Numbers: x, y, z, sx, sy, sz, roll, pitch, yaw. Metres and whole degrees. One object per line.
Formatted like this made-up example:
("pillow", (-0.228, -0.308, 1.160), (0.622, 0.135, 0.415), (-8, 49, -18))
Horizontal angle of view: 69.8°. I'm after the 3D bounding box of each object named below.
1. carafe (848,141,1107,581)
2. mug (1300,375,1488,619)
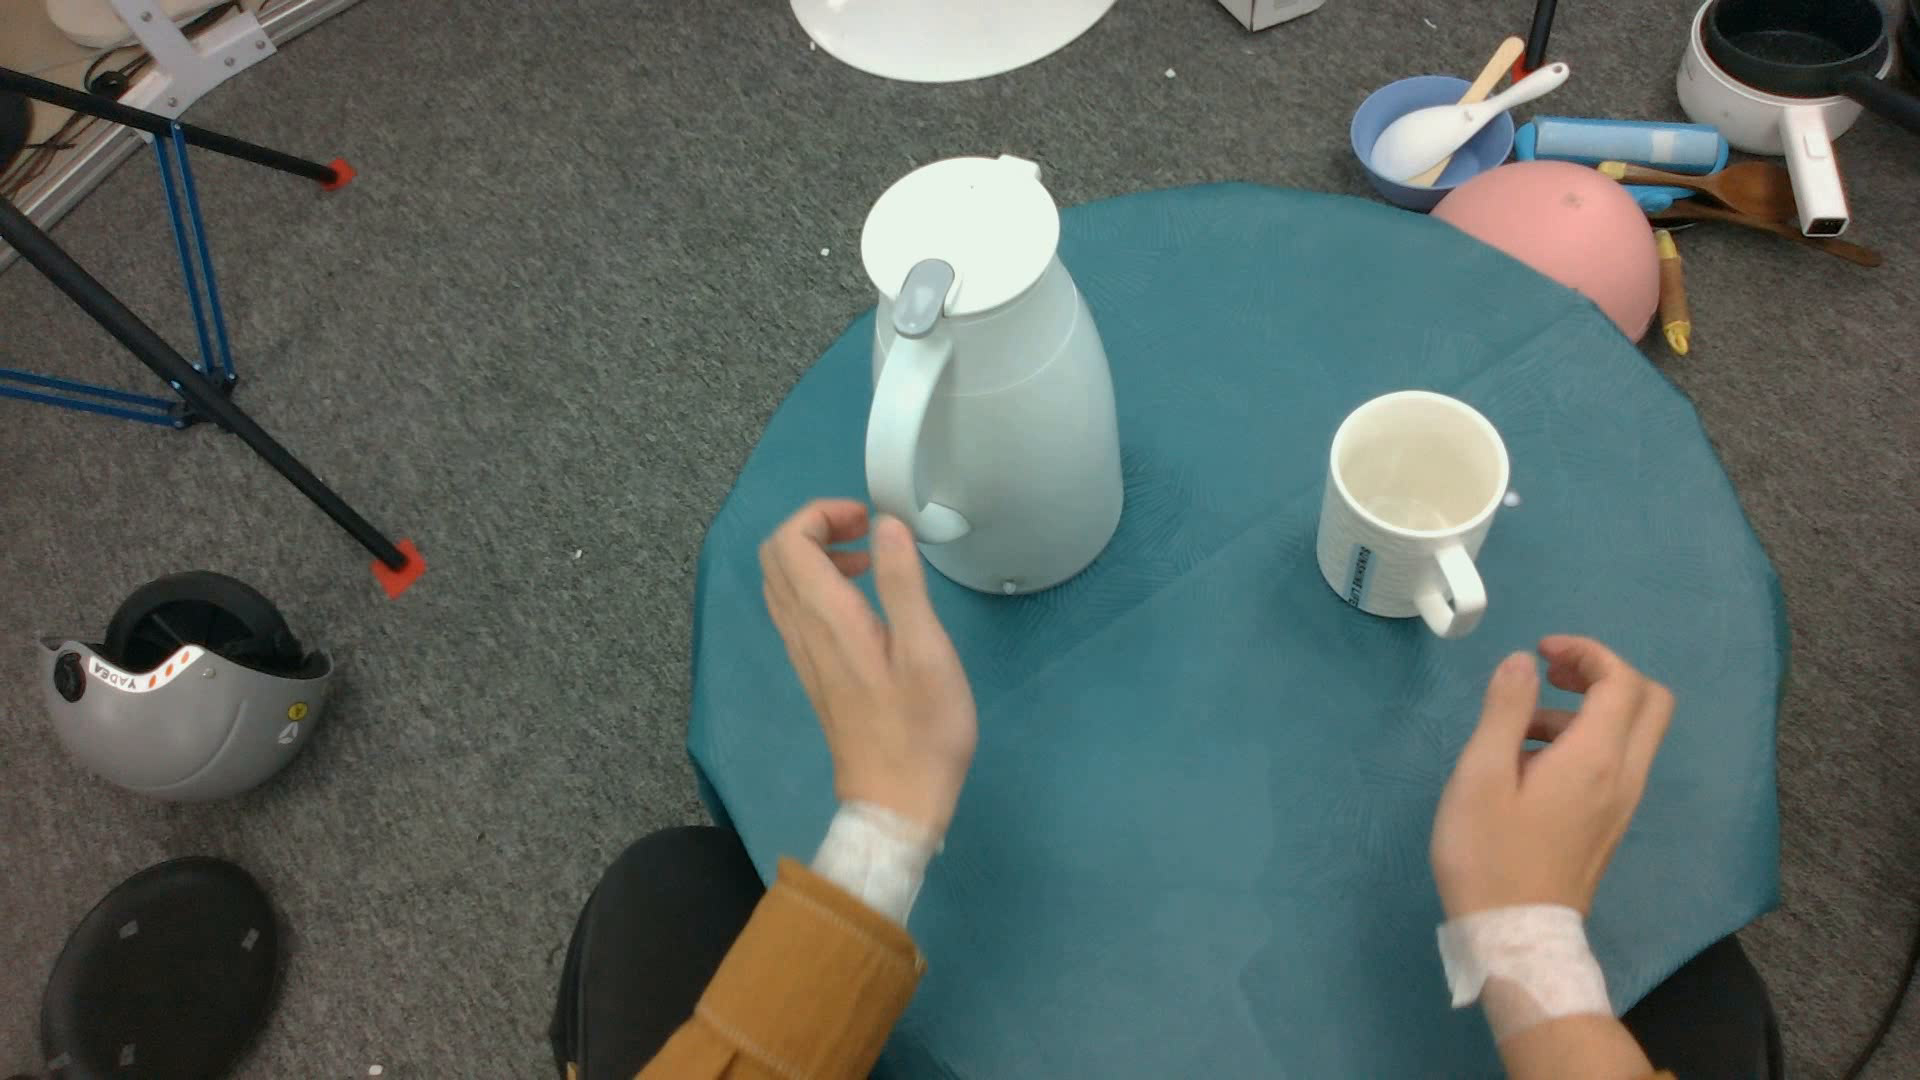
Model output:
("carafe", (0.001, -0.075, 0.718), (0.132, 0.248, 0.168), (19, 66, 17))
("mug", (0.234, -0.012, 0.733), (0.085, 0.101, 0.118), (-18, 60, -2))
